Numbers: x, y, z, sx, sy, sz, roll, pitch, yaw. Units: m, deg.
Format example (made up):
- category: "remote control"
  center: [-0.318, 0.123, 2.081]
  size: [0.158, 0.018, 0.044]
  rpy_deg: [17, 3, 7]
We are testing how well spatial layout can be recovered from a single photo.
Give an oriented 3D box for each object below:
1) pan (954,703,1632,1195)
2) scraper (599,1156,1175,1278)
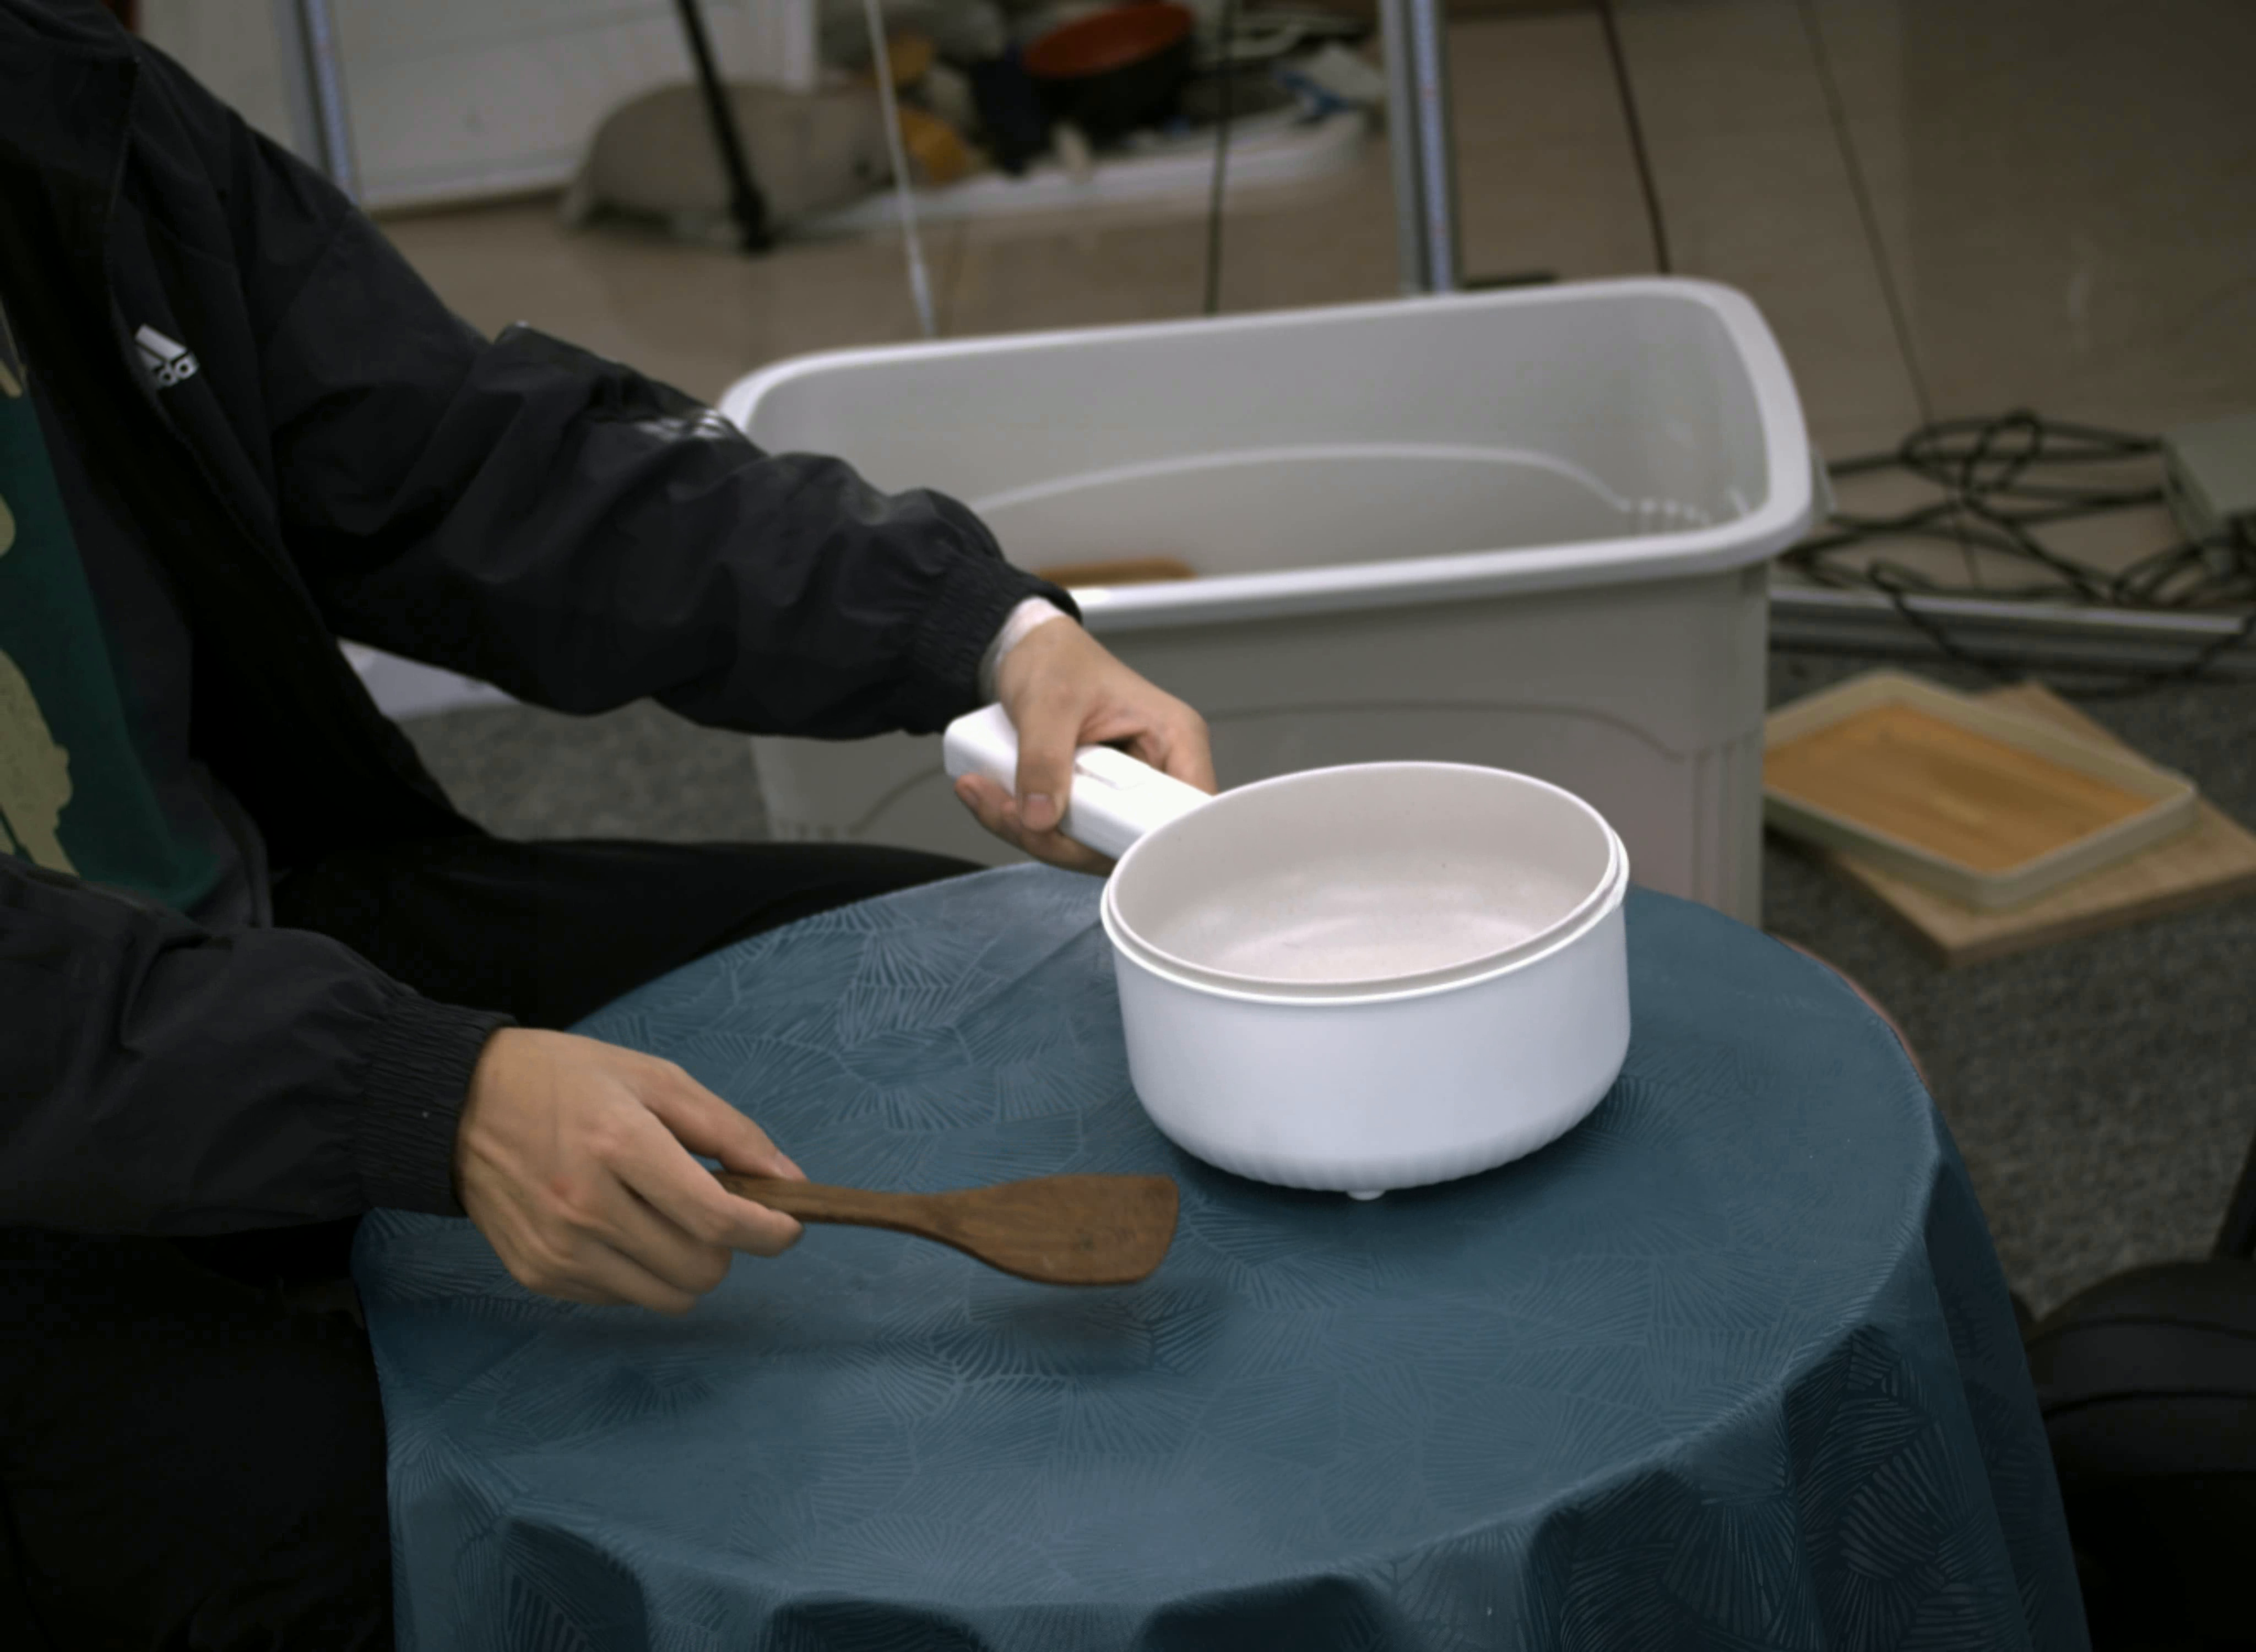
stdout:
- category: "pan"
  center: [0.049, 0.041, 2.228]
  size: [0.200, 0.103, 0.351]
  rpy_deg: [-23, 28, -31]
- category: "scraper"
  center: [-0.088, 0.136, 2.060]
  size: [0.211, 0.011, 0.074]
  rpy_deg: [4, 30, 7]
